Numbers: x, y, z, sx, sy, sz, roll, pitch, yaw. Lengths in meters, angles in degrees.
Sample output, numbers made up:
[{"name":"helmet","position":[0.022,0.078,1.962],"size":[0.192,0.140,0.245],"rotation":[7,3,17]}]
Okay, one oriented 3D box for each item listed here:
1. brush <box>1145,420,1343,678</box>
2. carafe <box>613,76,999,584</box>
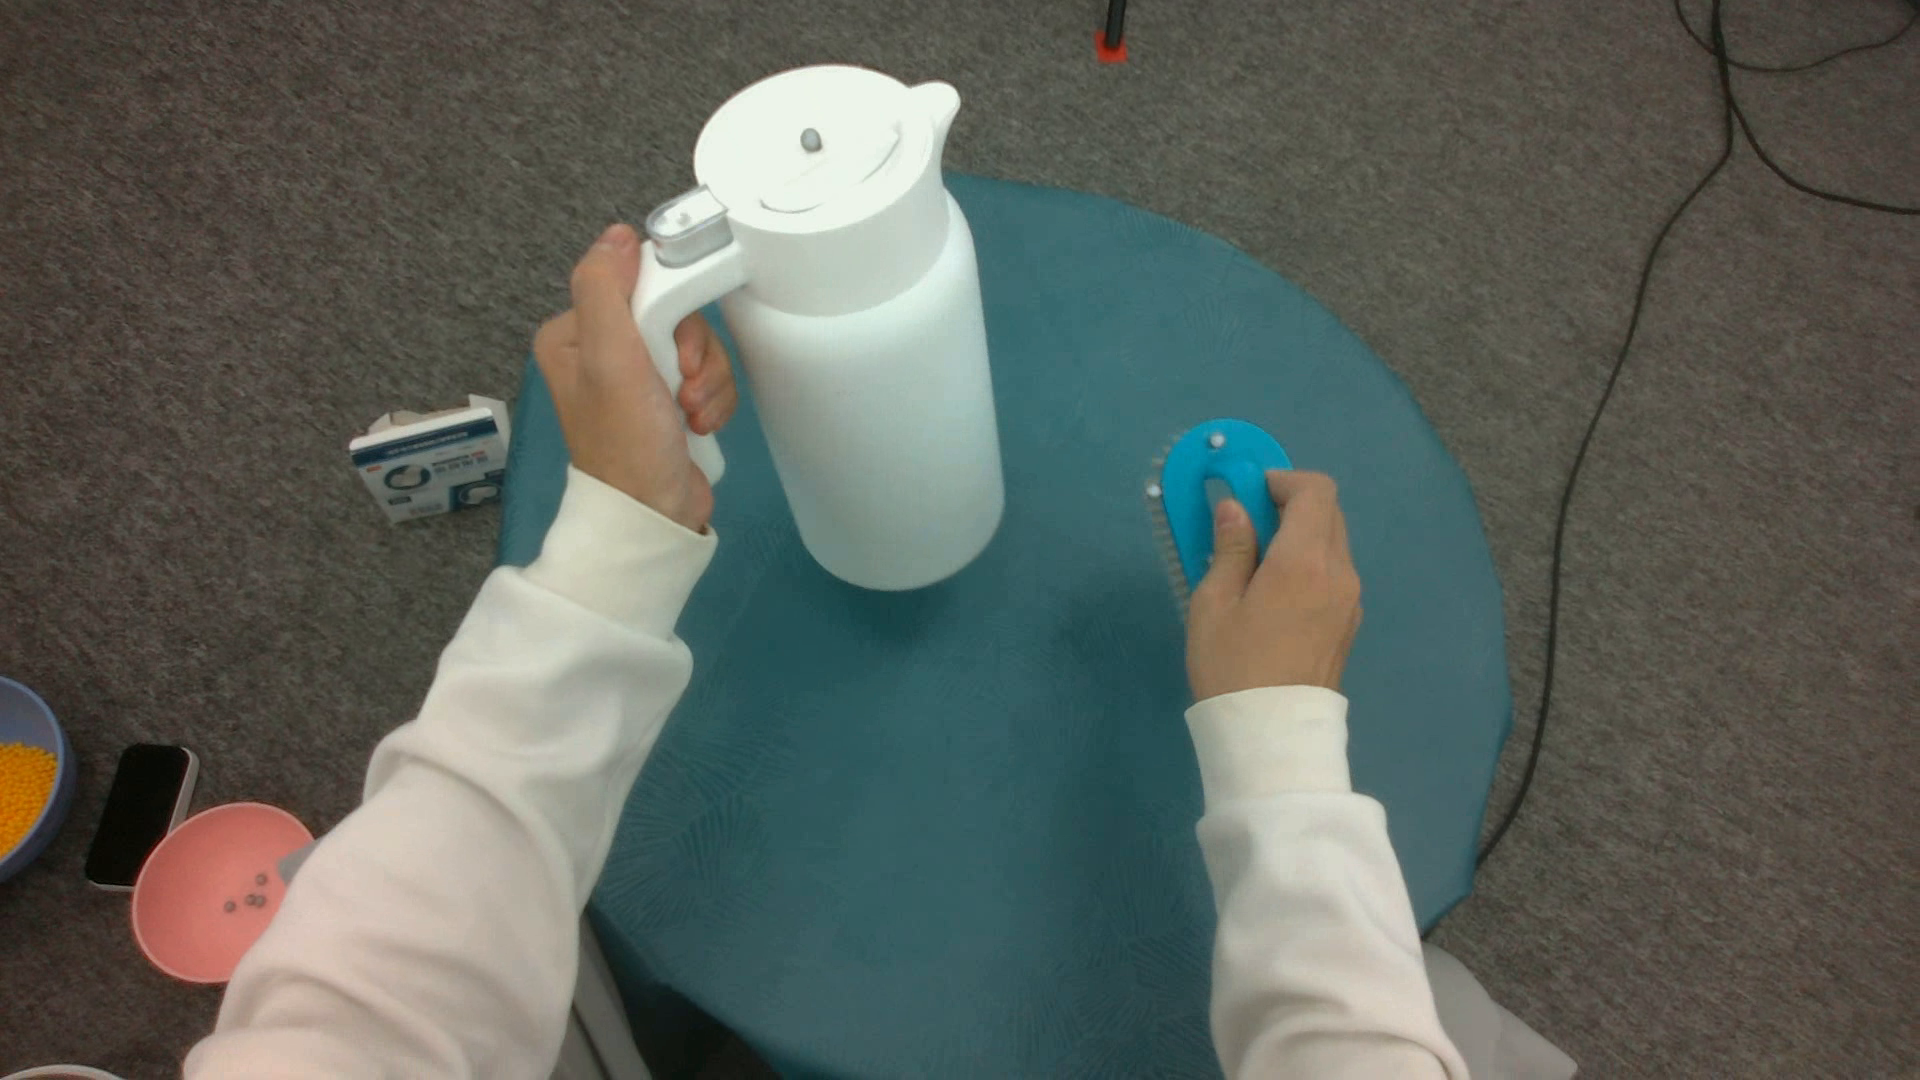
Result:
[{"name":"brush","position":[0.156,0.002,0.726],"size":[0.084,0.063,0.142],"rotation":[-16,85,-13]},{"name":"carafe","position":[-0.061,-0.081,0.677],"size":[0.173,0.268,0.124],"rotation":[-35,63,-15]}]
